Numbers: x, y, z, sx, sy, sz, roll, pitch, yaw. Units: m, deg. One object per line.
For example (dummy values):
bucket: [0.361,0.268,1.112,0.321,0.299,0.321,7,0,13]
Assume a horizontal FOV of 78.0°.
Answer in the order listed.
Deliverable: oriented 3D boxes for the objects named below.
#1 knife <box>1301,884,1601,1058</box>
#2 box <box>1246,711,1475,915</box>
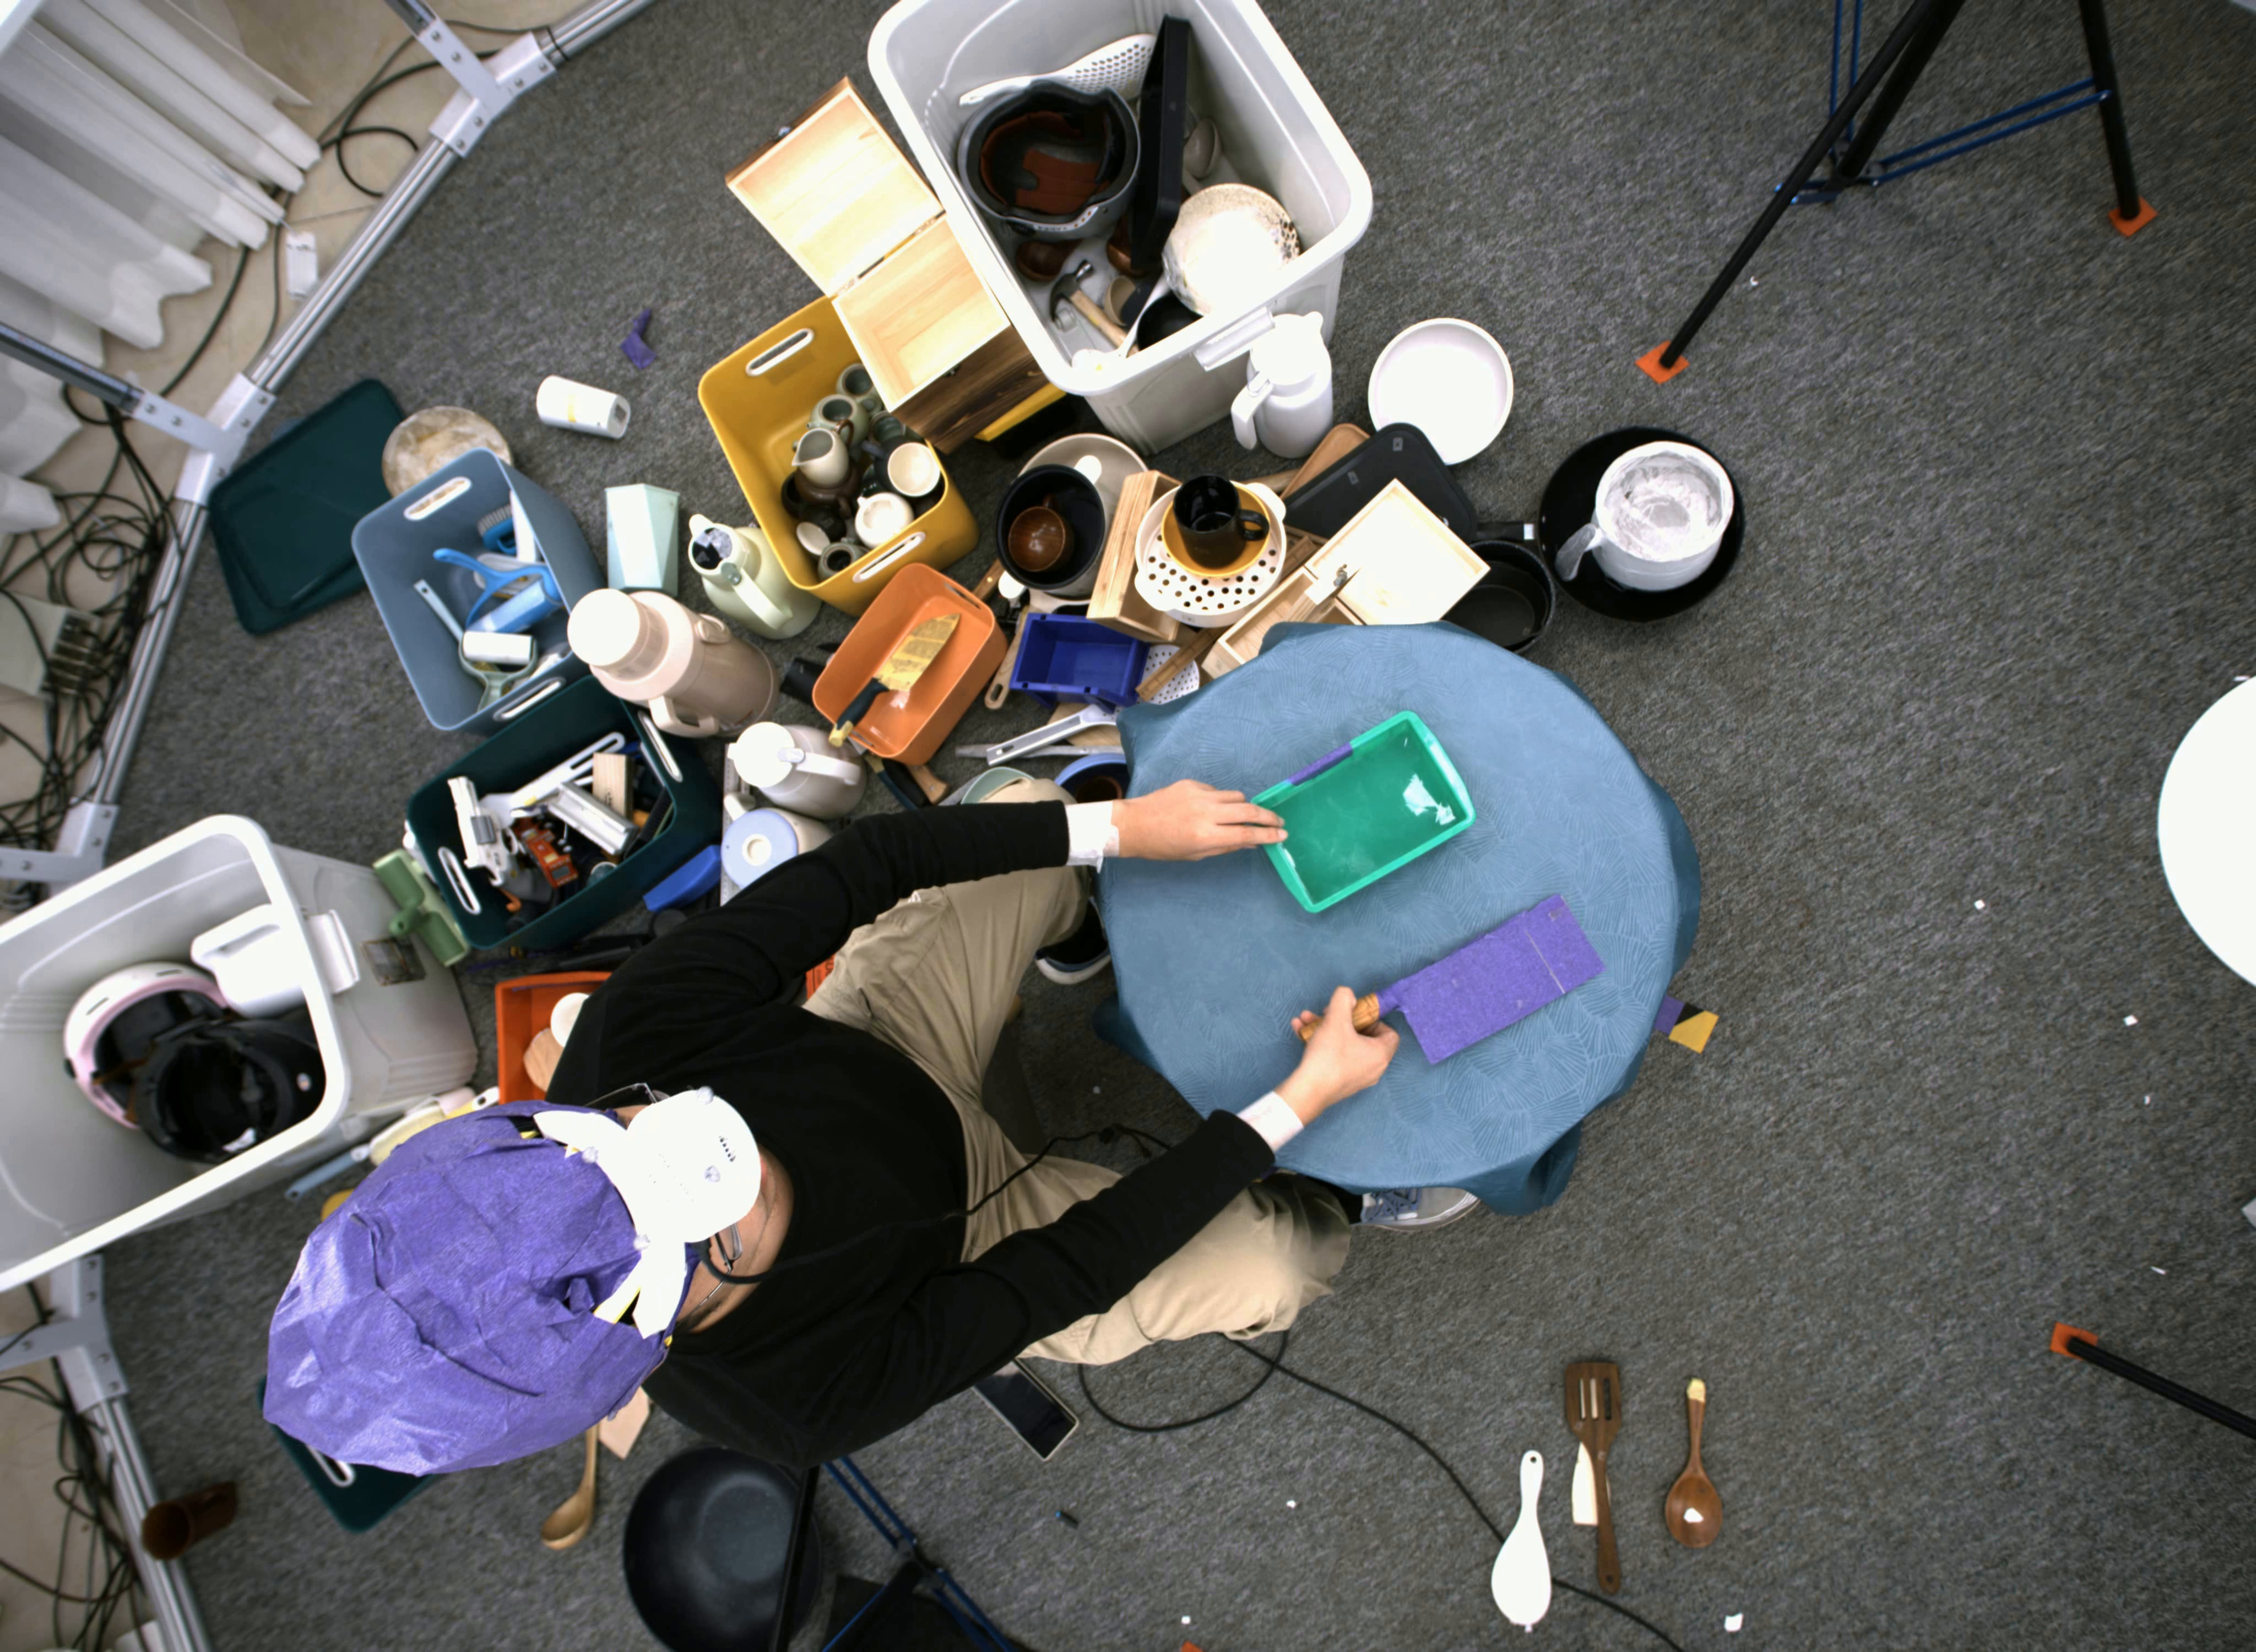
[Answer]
knife: [0.335,0.175,1.414,0.316,0.032,0.103,-29,82,1]
box: [0.242,-0.011,1.439,0.212,0.065,0.137,-32,80,9]
